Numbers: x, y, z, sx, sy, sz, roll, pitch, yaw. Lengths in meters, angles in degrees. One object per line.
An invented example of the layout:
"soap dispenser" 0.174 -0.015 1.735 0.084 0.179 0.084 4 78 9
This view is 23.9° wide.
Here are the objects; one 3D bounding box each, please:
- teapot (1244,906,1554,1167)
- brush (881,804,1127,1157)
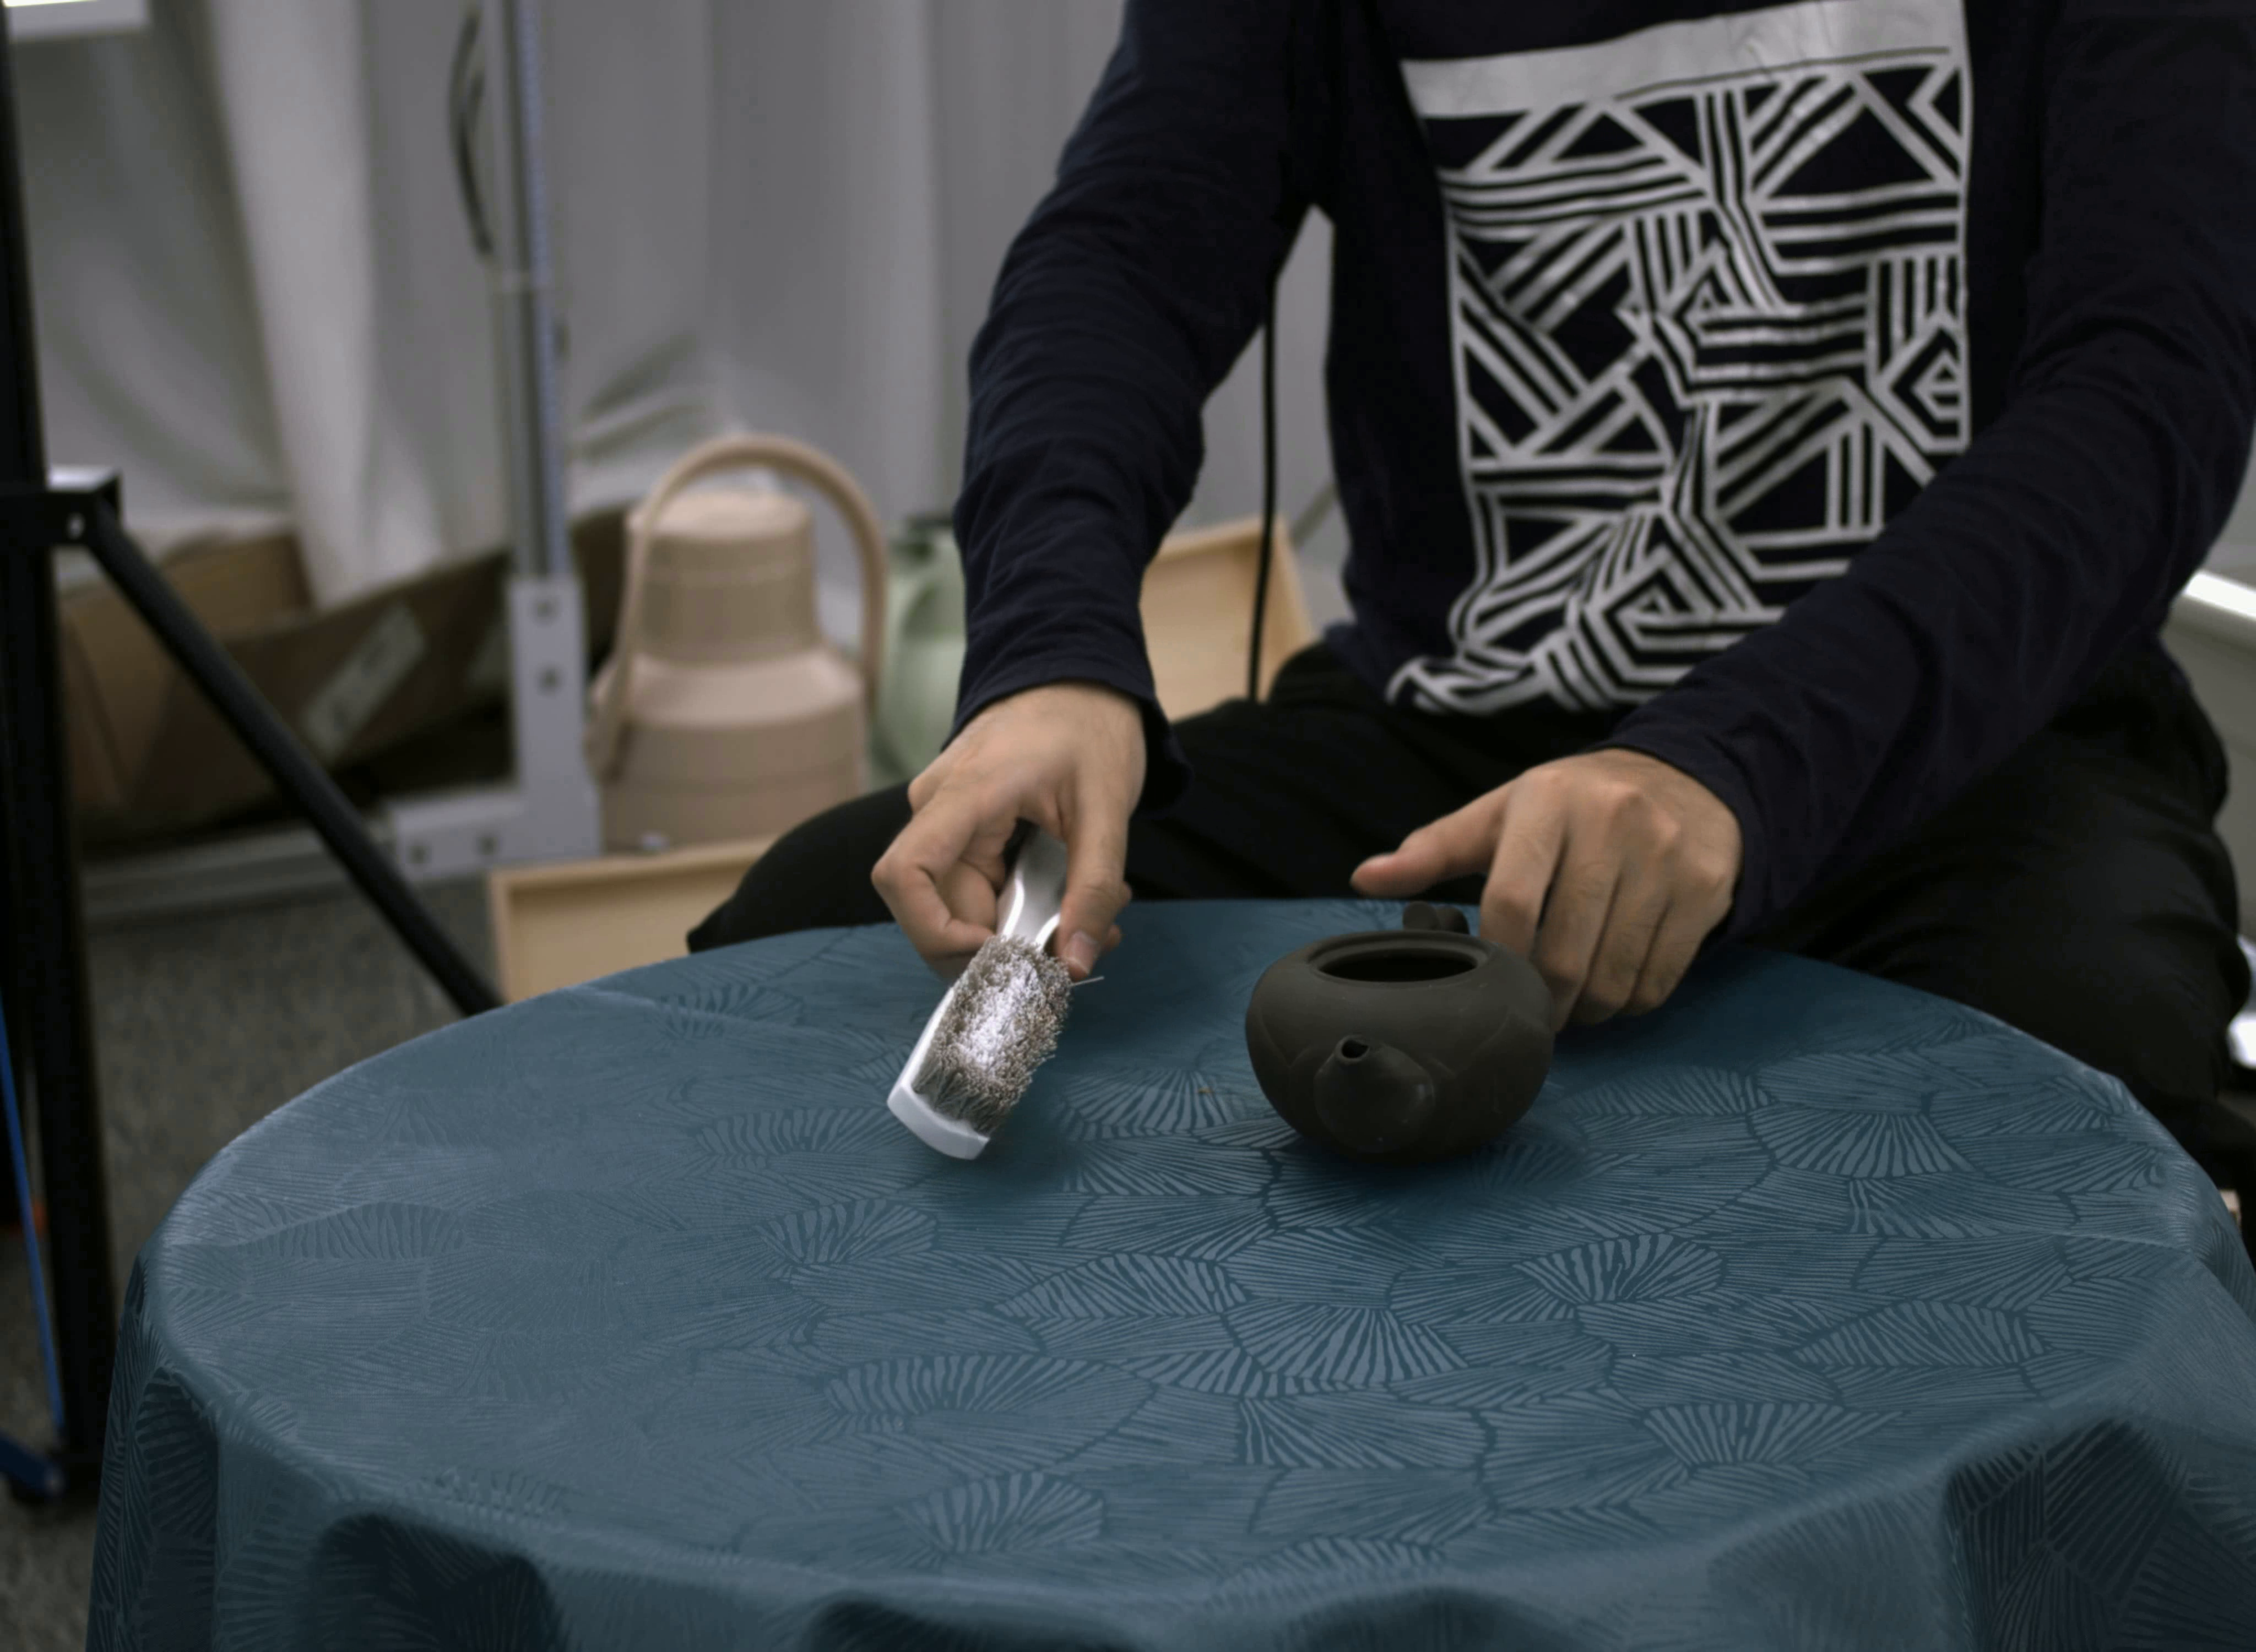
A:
"teapot" 0.082 0.064 1.591 0.093 0.064 0.153 2 16 17
"brush" -0.027 0.032 1.677 0.034 0.050 0.242 29 27 0
